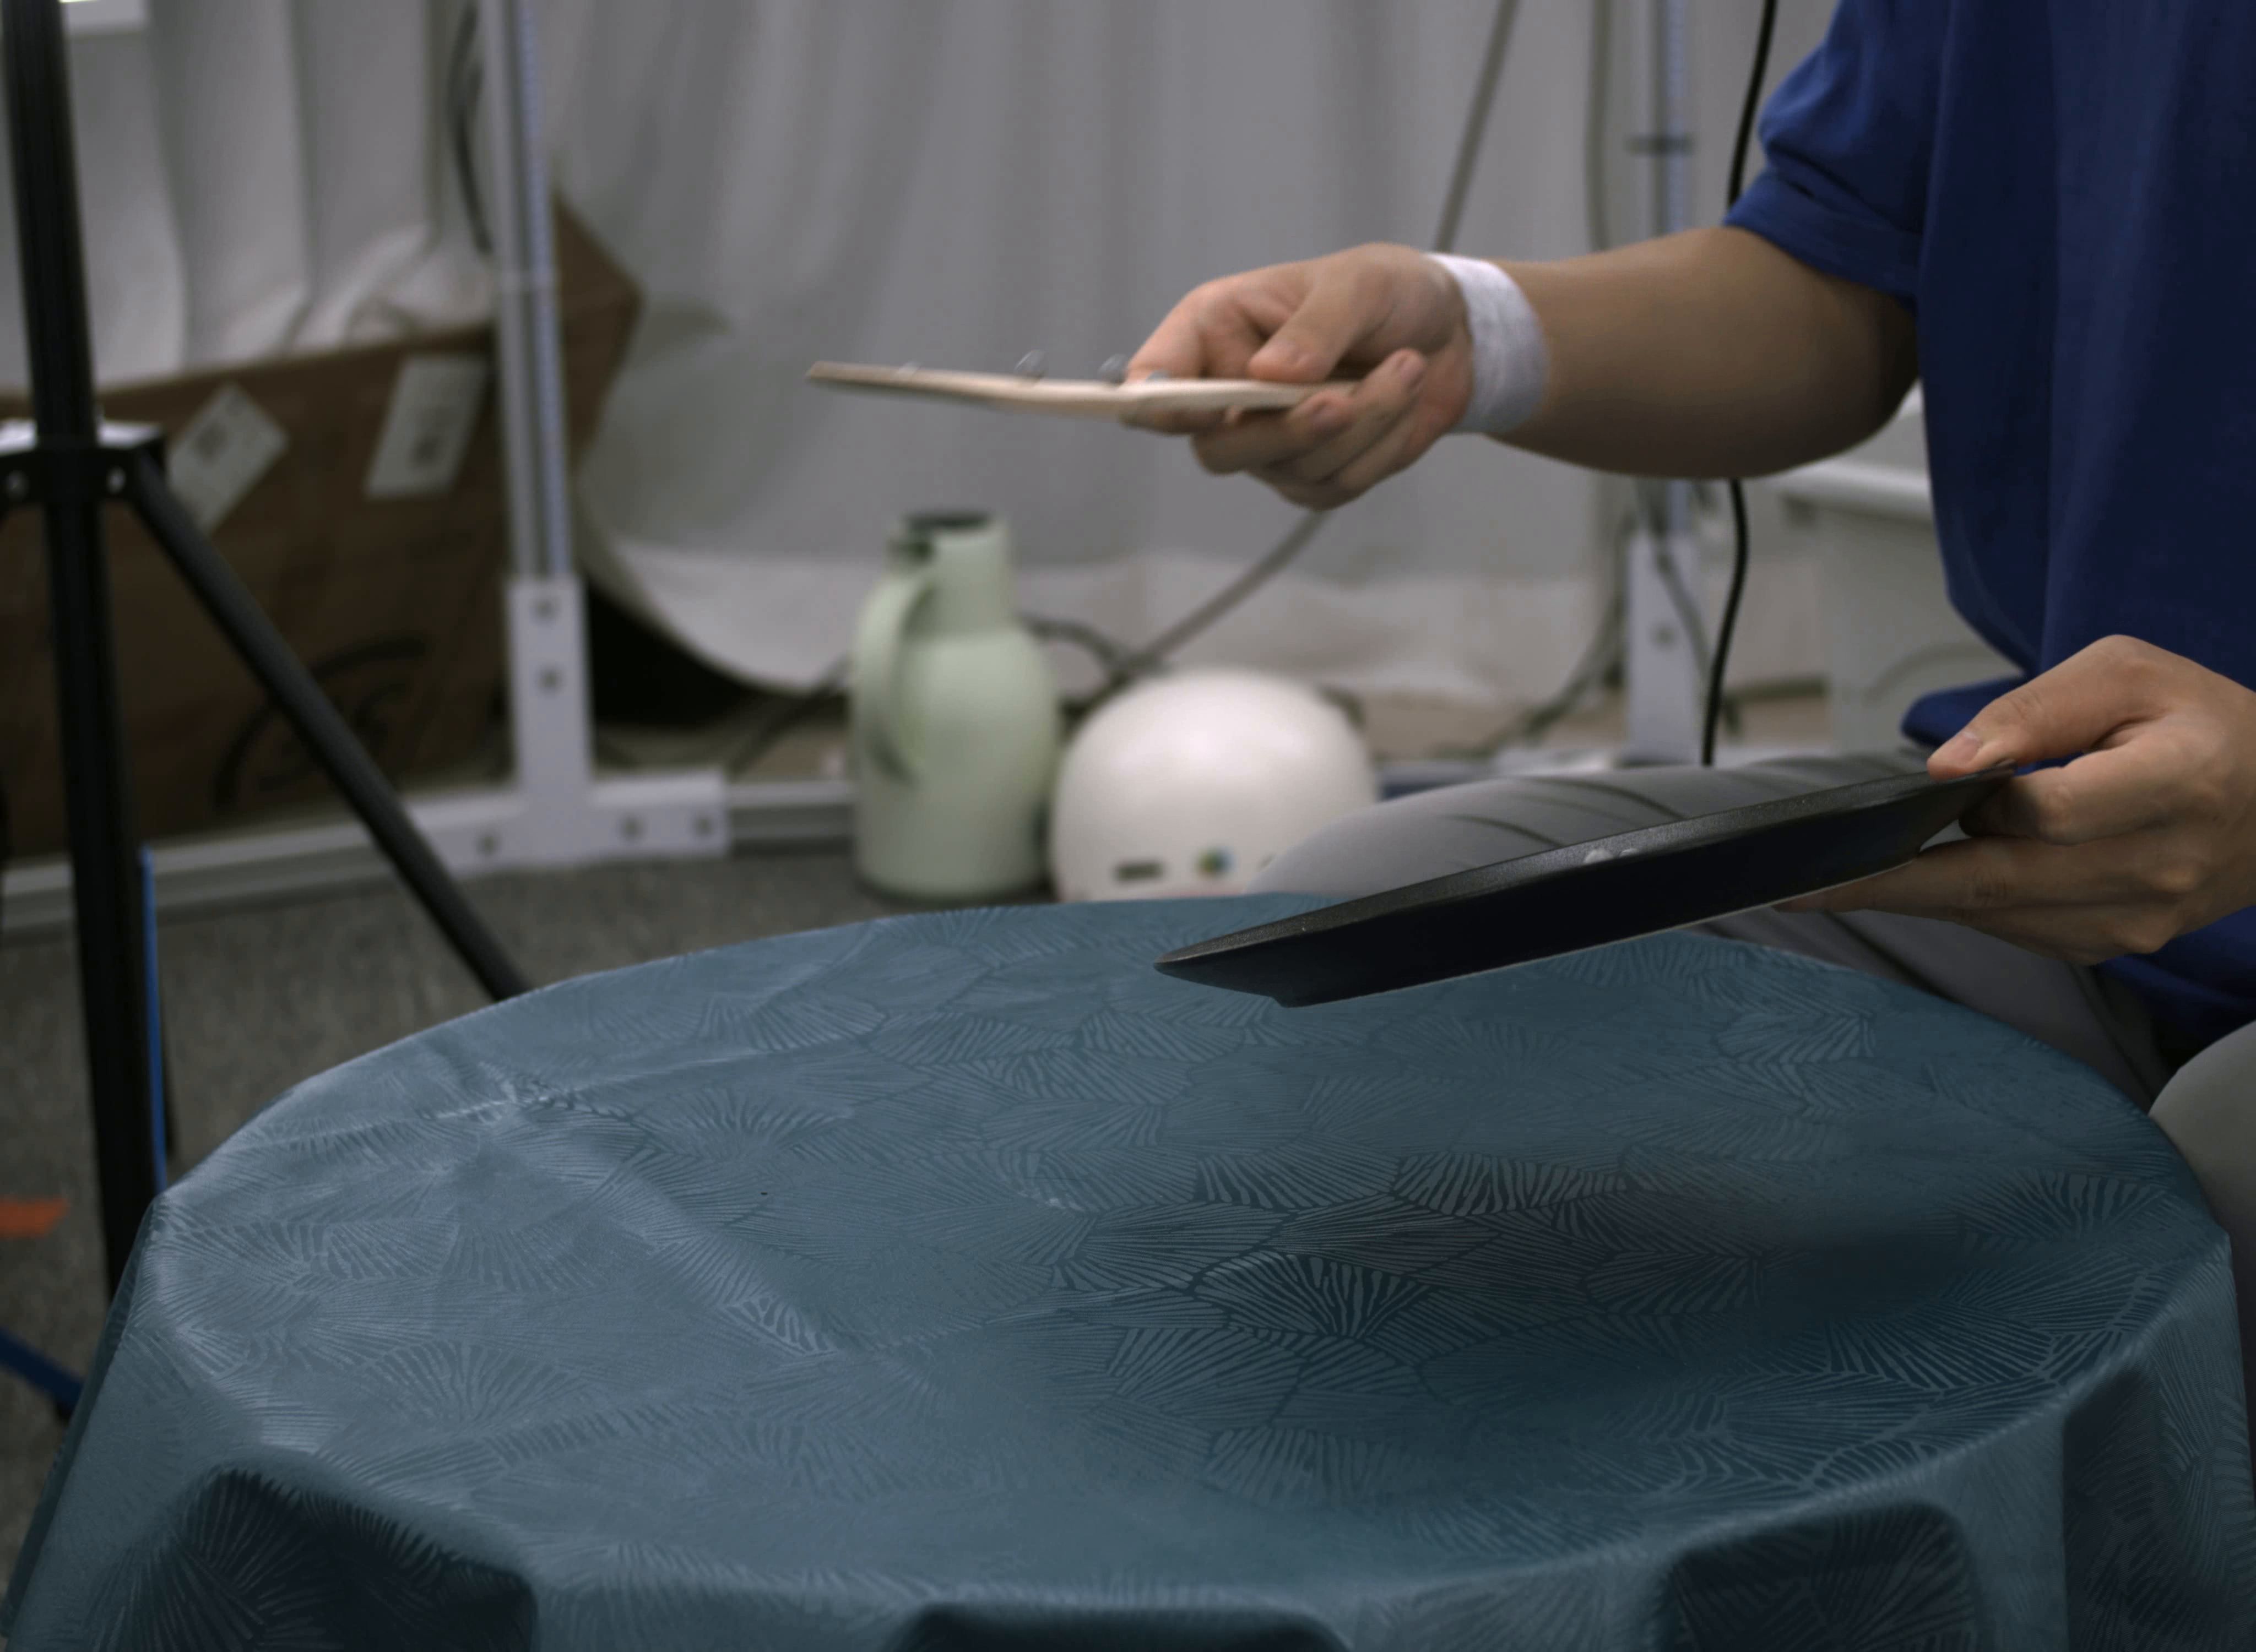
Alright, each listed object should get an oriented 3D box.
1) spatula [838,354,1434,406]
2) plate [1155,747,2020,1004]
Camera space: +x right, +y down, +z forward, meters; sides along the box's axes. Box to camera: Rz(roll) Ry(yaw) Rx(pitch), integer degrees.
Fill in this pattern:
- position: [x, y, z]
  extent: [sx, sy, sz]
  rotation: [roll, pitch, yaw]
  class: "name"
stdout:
- position: [0.016, -0.140, 1.679]
  extent: [0.073, 0.011, 0.286]
  rotation: [9, 8, 32]
  class: "spatula"
- position: [0.127, 0.018, 1.457]
  extent: [0.243, 0.023, 0.244]
  rotation: [-14, 0, -2]
  class: "plate"
